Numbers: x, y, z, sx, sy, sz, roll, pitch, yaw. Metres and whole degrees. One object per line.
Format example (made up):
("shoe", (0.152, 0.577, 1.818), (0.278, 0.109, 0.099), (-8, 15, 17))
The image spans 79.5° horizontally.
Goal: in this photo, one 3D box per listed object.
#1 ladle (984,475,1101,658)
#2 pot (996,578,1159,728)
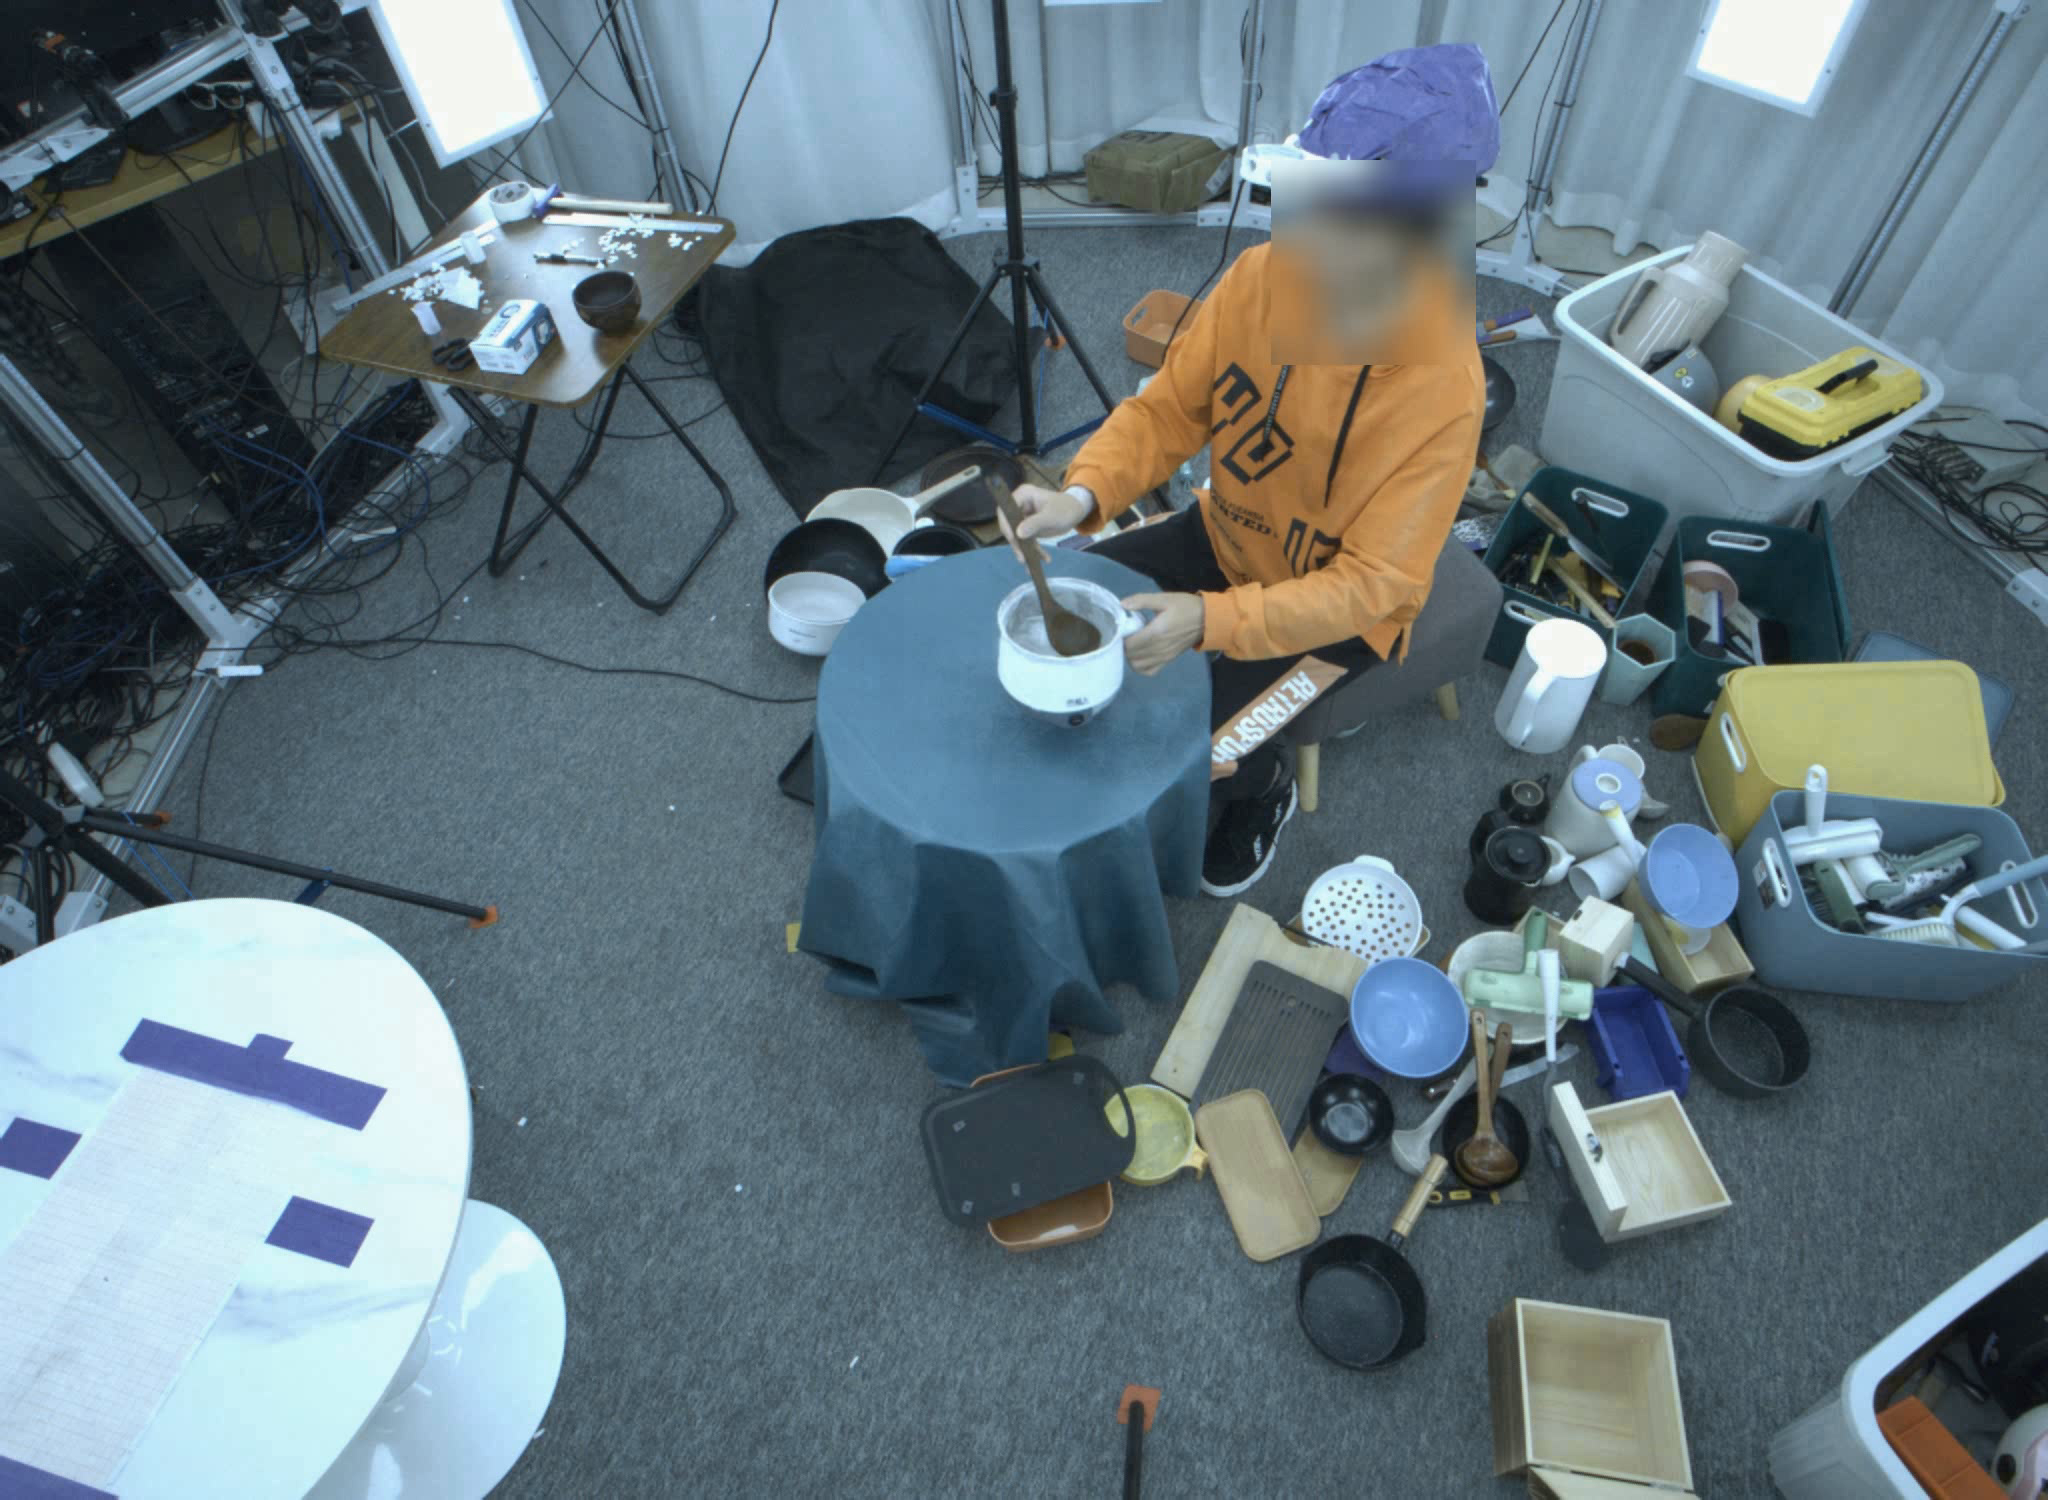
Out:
("ladle", (0.025, -0.252, 1.664), (0.070, 0.277, 0.077), (-4, 26, 47))
("pot", (0.077, -0.142, 1.729), (0.235, 0.138, 0.175), (-11, 49, -12))
